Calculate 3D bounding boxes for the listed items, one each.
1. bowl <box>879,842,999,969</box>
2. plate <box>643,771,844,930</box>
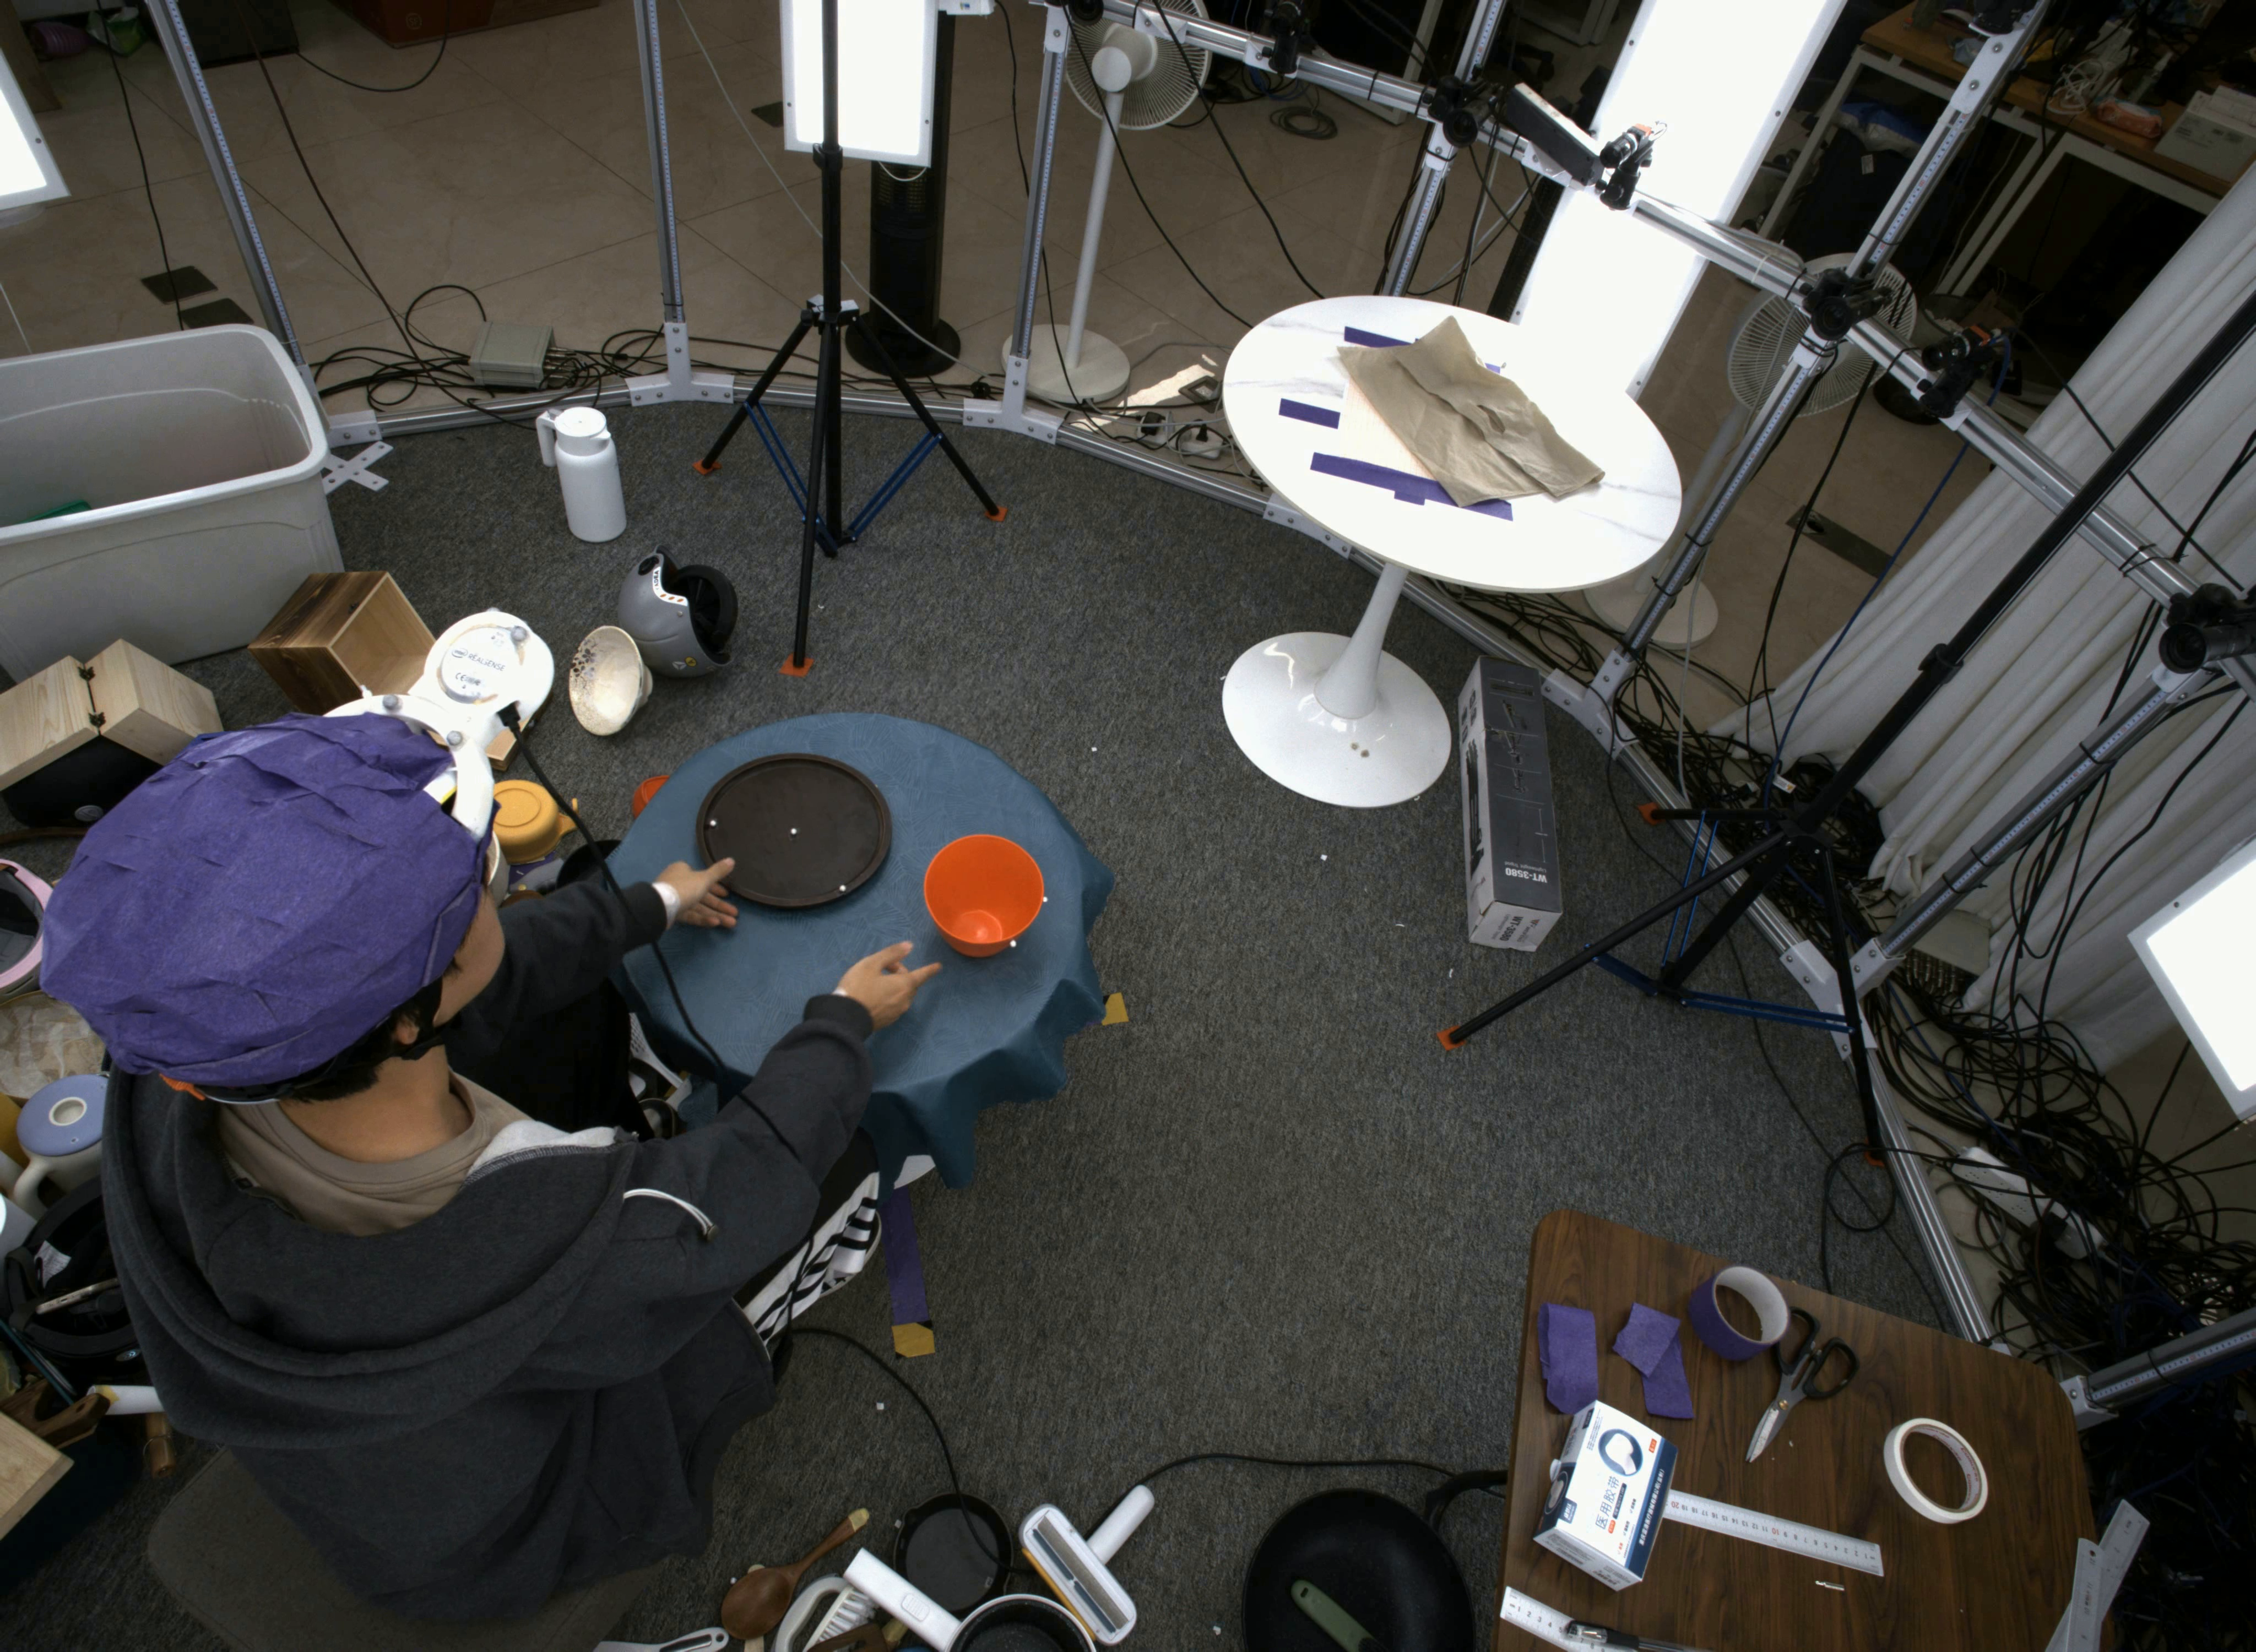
[{"bbox_3d":[-0.239,0.110,1.628,0.148,0.106,0.145,9,51,-10],"label":"bowl"},{"bbox_3d":[-0.496,0.028,1.674,0.254,0.029,0.250,9,53,-10],"label":"plate"}]
